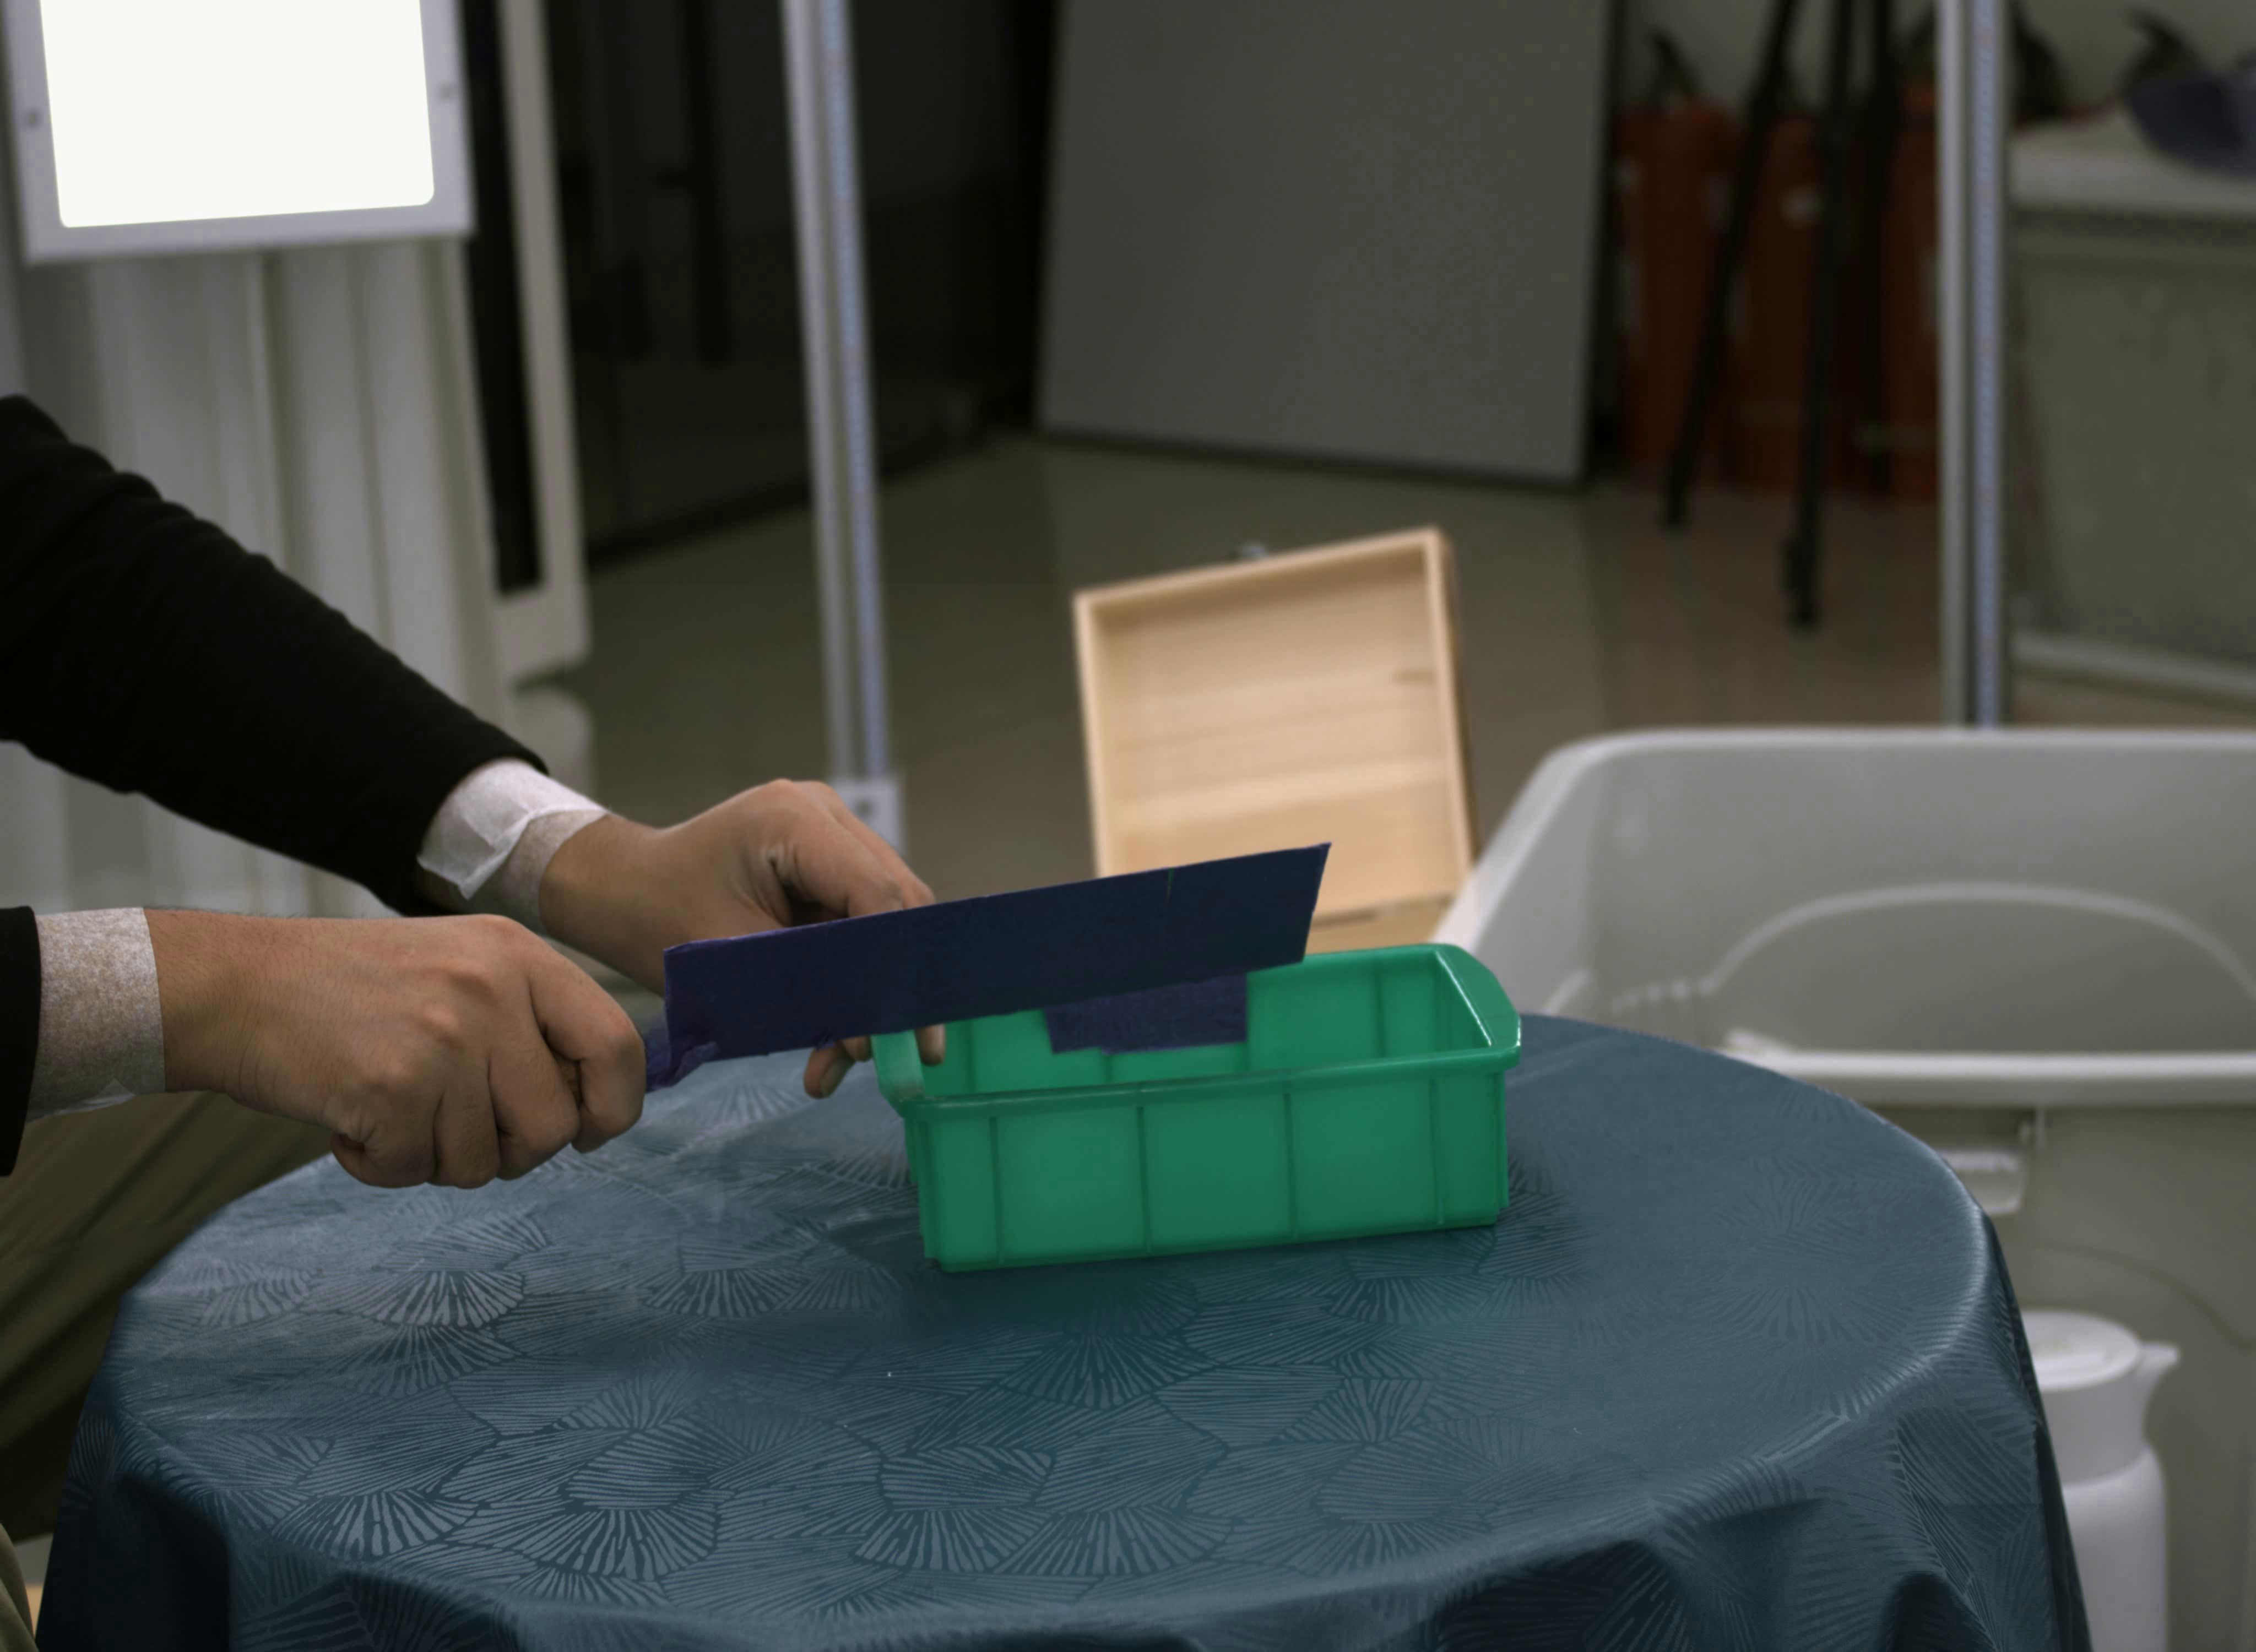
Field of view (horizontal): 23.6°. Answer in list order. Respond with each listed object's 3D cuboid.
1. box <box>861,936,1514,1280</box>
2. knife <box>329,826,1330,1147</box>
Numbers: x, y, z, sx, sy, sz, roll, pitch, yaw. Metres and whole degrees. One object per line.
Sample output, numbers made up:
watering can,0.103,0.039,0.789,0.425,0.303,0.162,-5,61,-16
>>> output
box,0.021,0.091,1.753,0.207,0.066,0.139,-7,12,-4
knife,-0.092,0.043,1.658,0.310,0.032,0.104,-11,-26,-8
